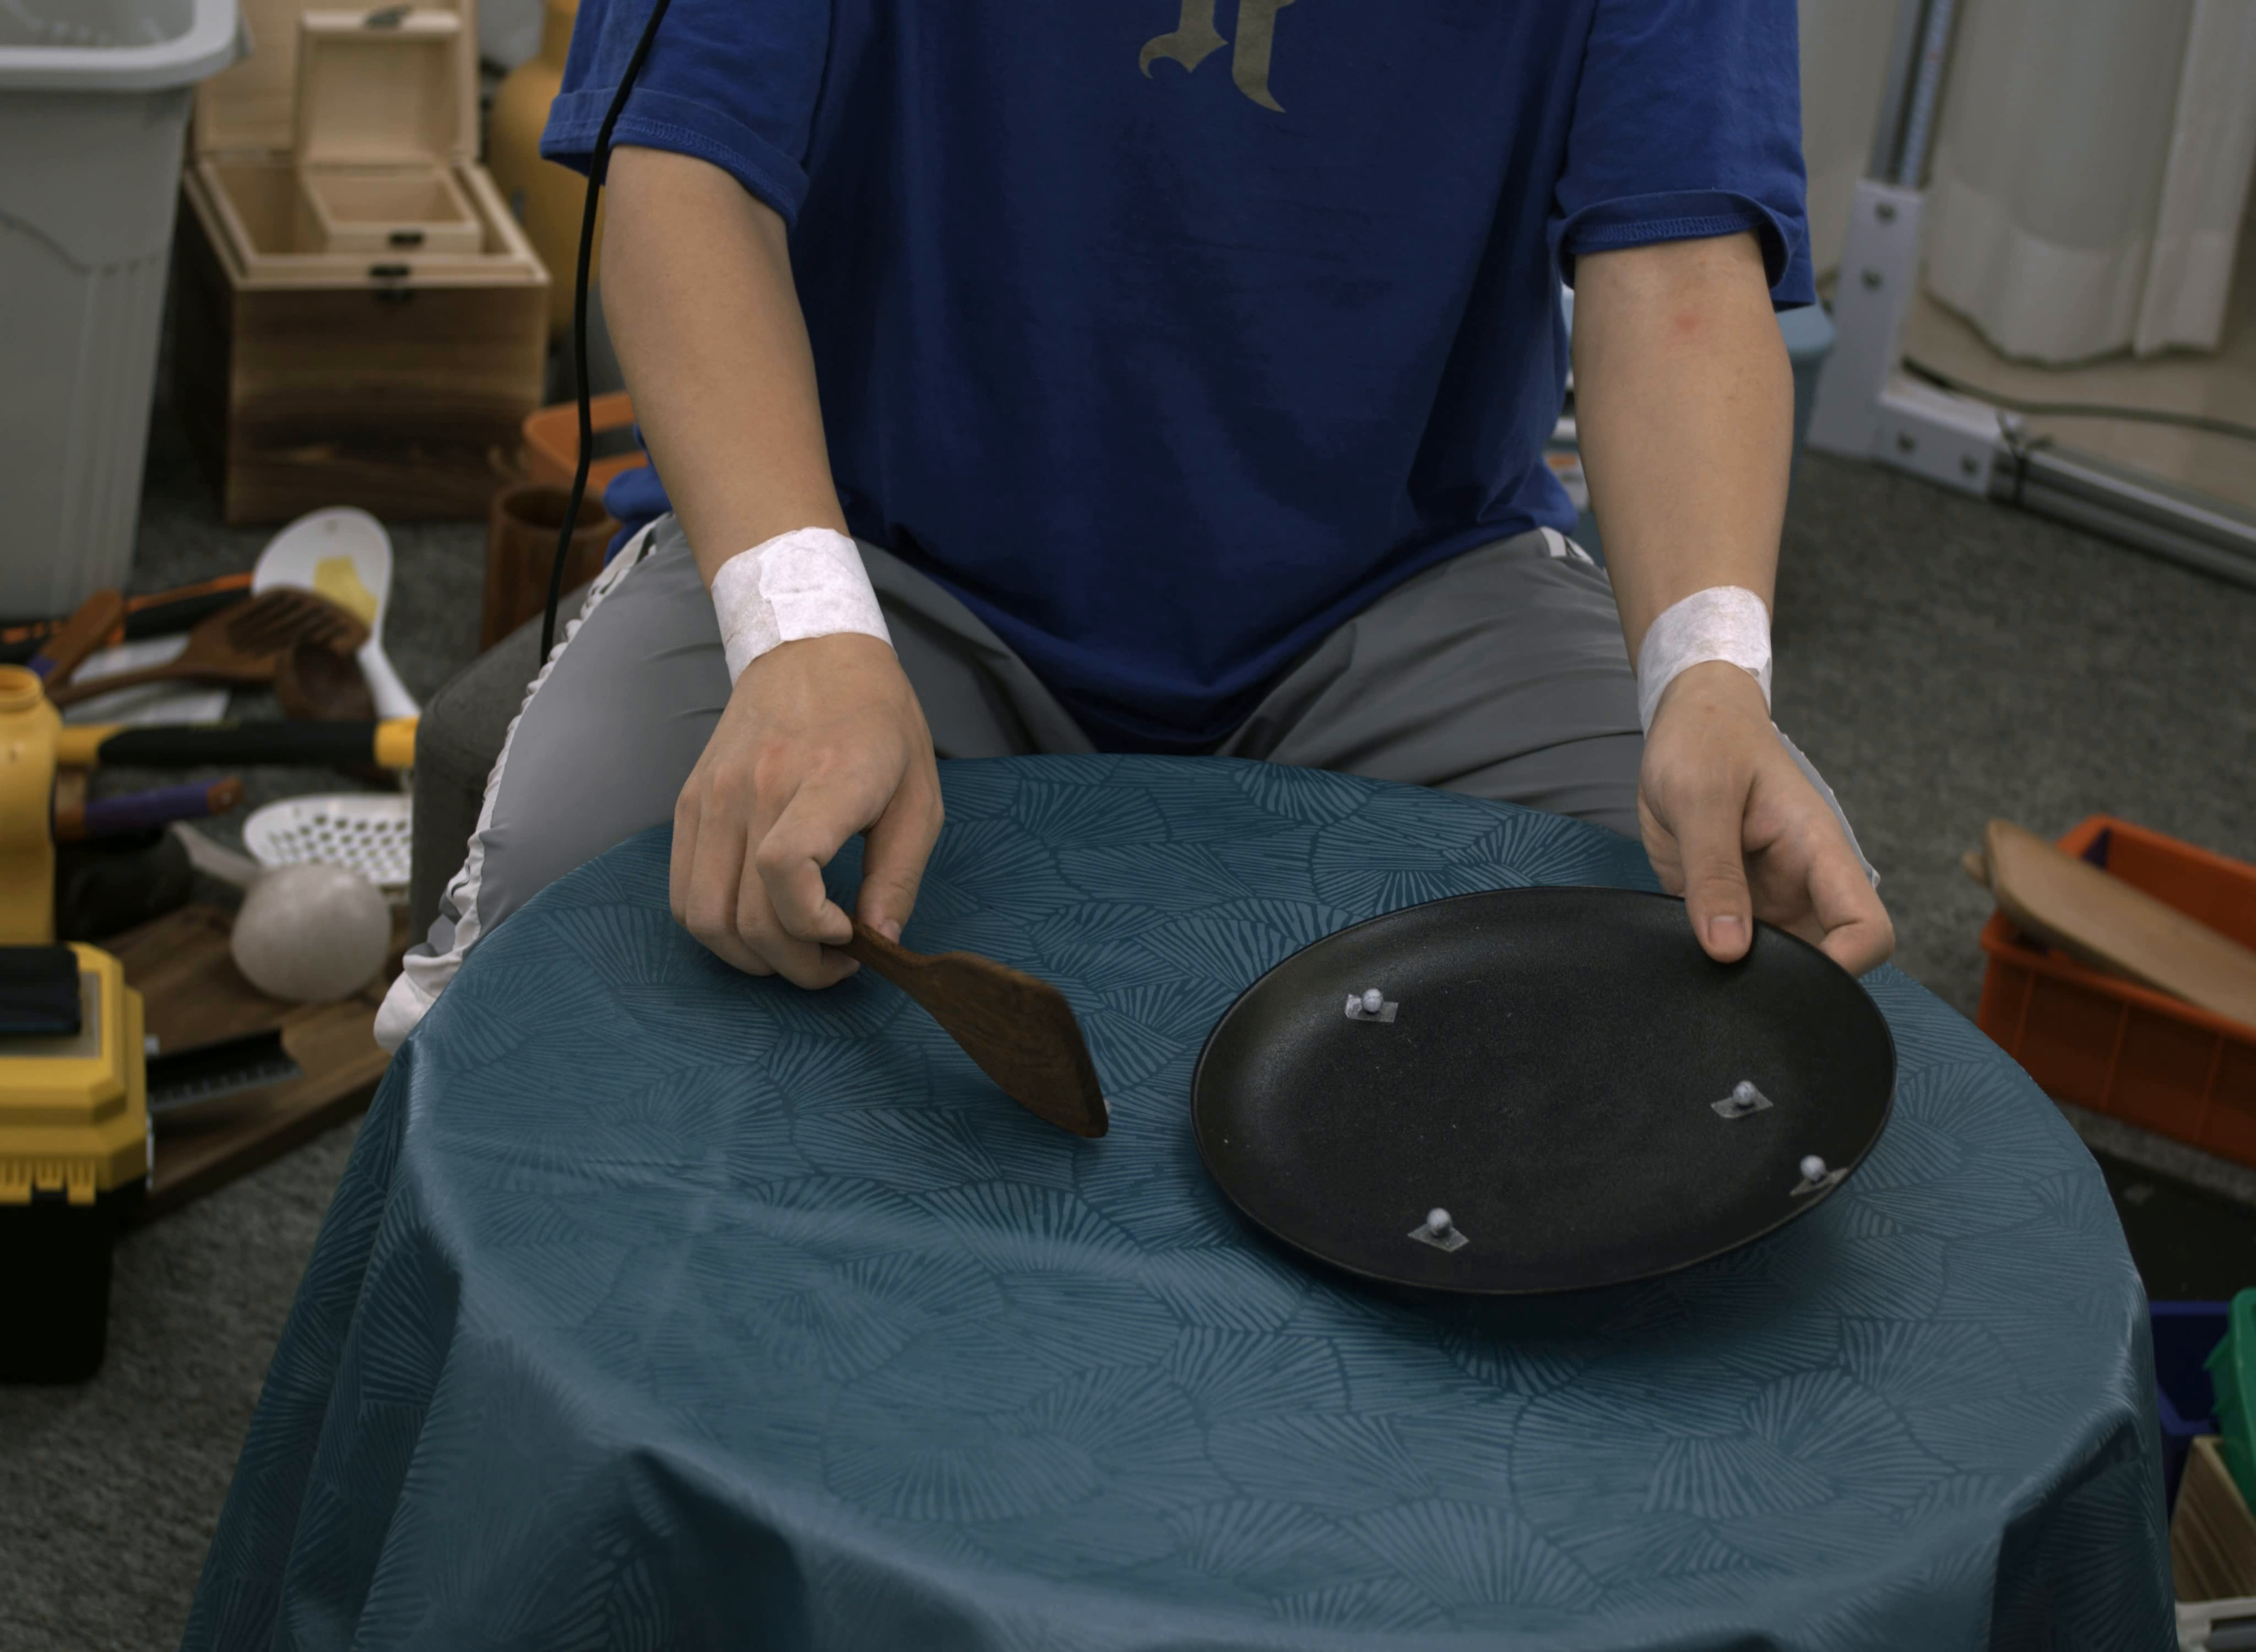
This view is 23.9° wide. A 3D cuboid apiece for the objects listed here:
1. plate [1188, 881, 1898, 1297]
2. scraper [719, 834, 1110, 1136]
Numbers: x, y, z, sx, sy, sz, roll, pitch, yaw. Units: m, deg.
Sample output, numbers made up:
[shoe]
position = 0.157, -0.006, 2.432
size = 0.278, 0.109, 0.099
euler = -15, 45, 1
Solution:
[plate]
position = 0.142, 0.094, 1.827
size = 0.244, 0.023, 0.246
euler = -5, 32, 3
[scraper]
position = -0.081, 0.048, 1.872
size = 0.011, 0.075, 0.213
euler = -40, 41, -19
